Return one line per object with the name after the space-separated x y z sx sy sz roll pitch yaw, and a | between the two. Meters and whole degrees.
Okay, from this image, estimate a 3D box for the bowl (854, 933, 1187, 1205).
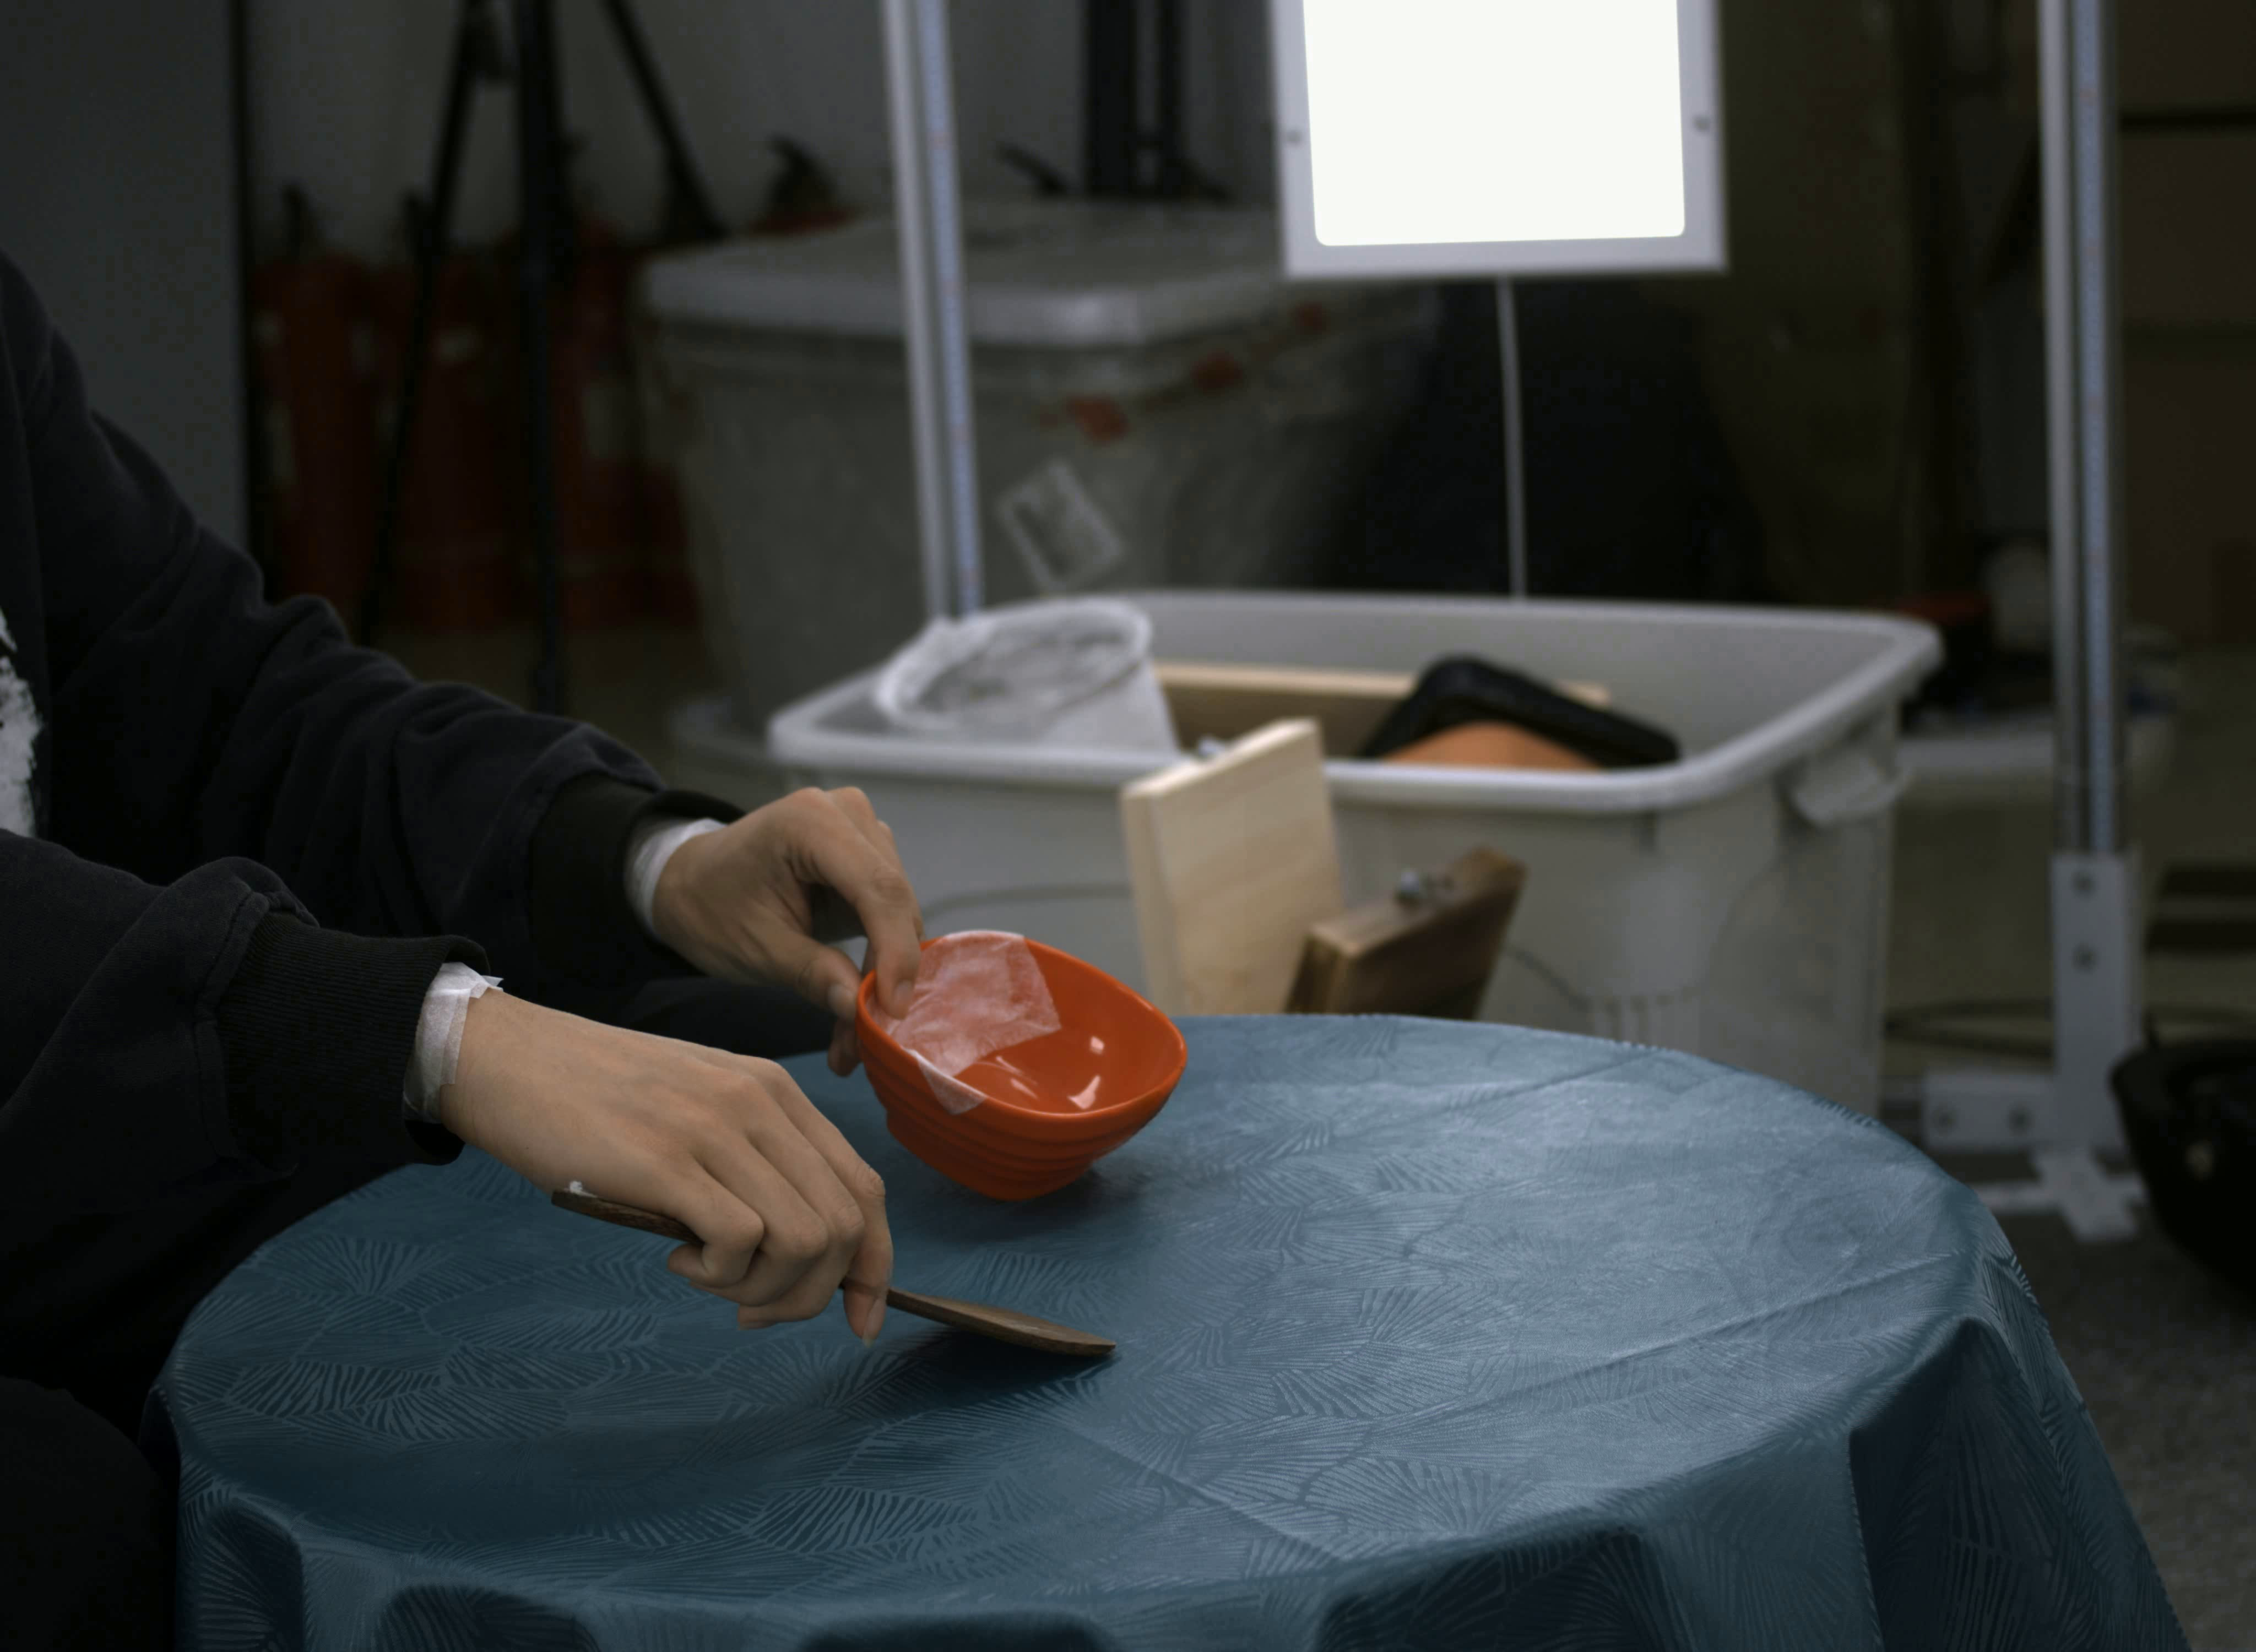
-0.042 0.090 1.915 0.118 0.052 0.118 12 29 -8 | bowl

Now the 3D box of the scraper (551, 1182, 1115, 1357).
-0.094 0.136 1.691 0.206 0.011 0.077 22 -6 -43 | scraper
